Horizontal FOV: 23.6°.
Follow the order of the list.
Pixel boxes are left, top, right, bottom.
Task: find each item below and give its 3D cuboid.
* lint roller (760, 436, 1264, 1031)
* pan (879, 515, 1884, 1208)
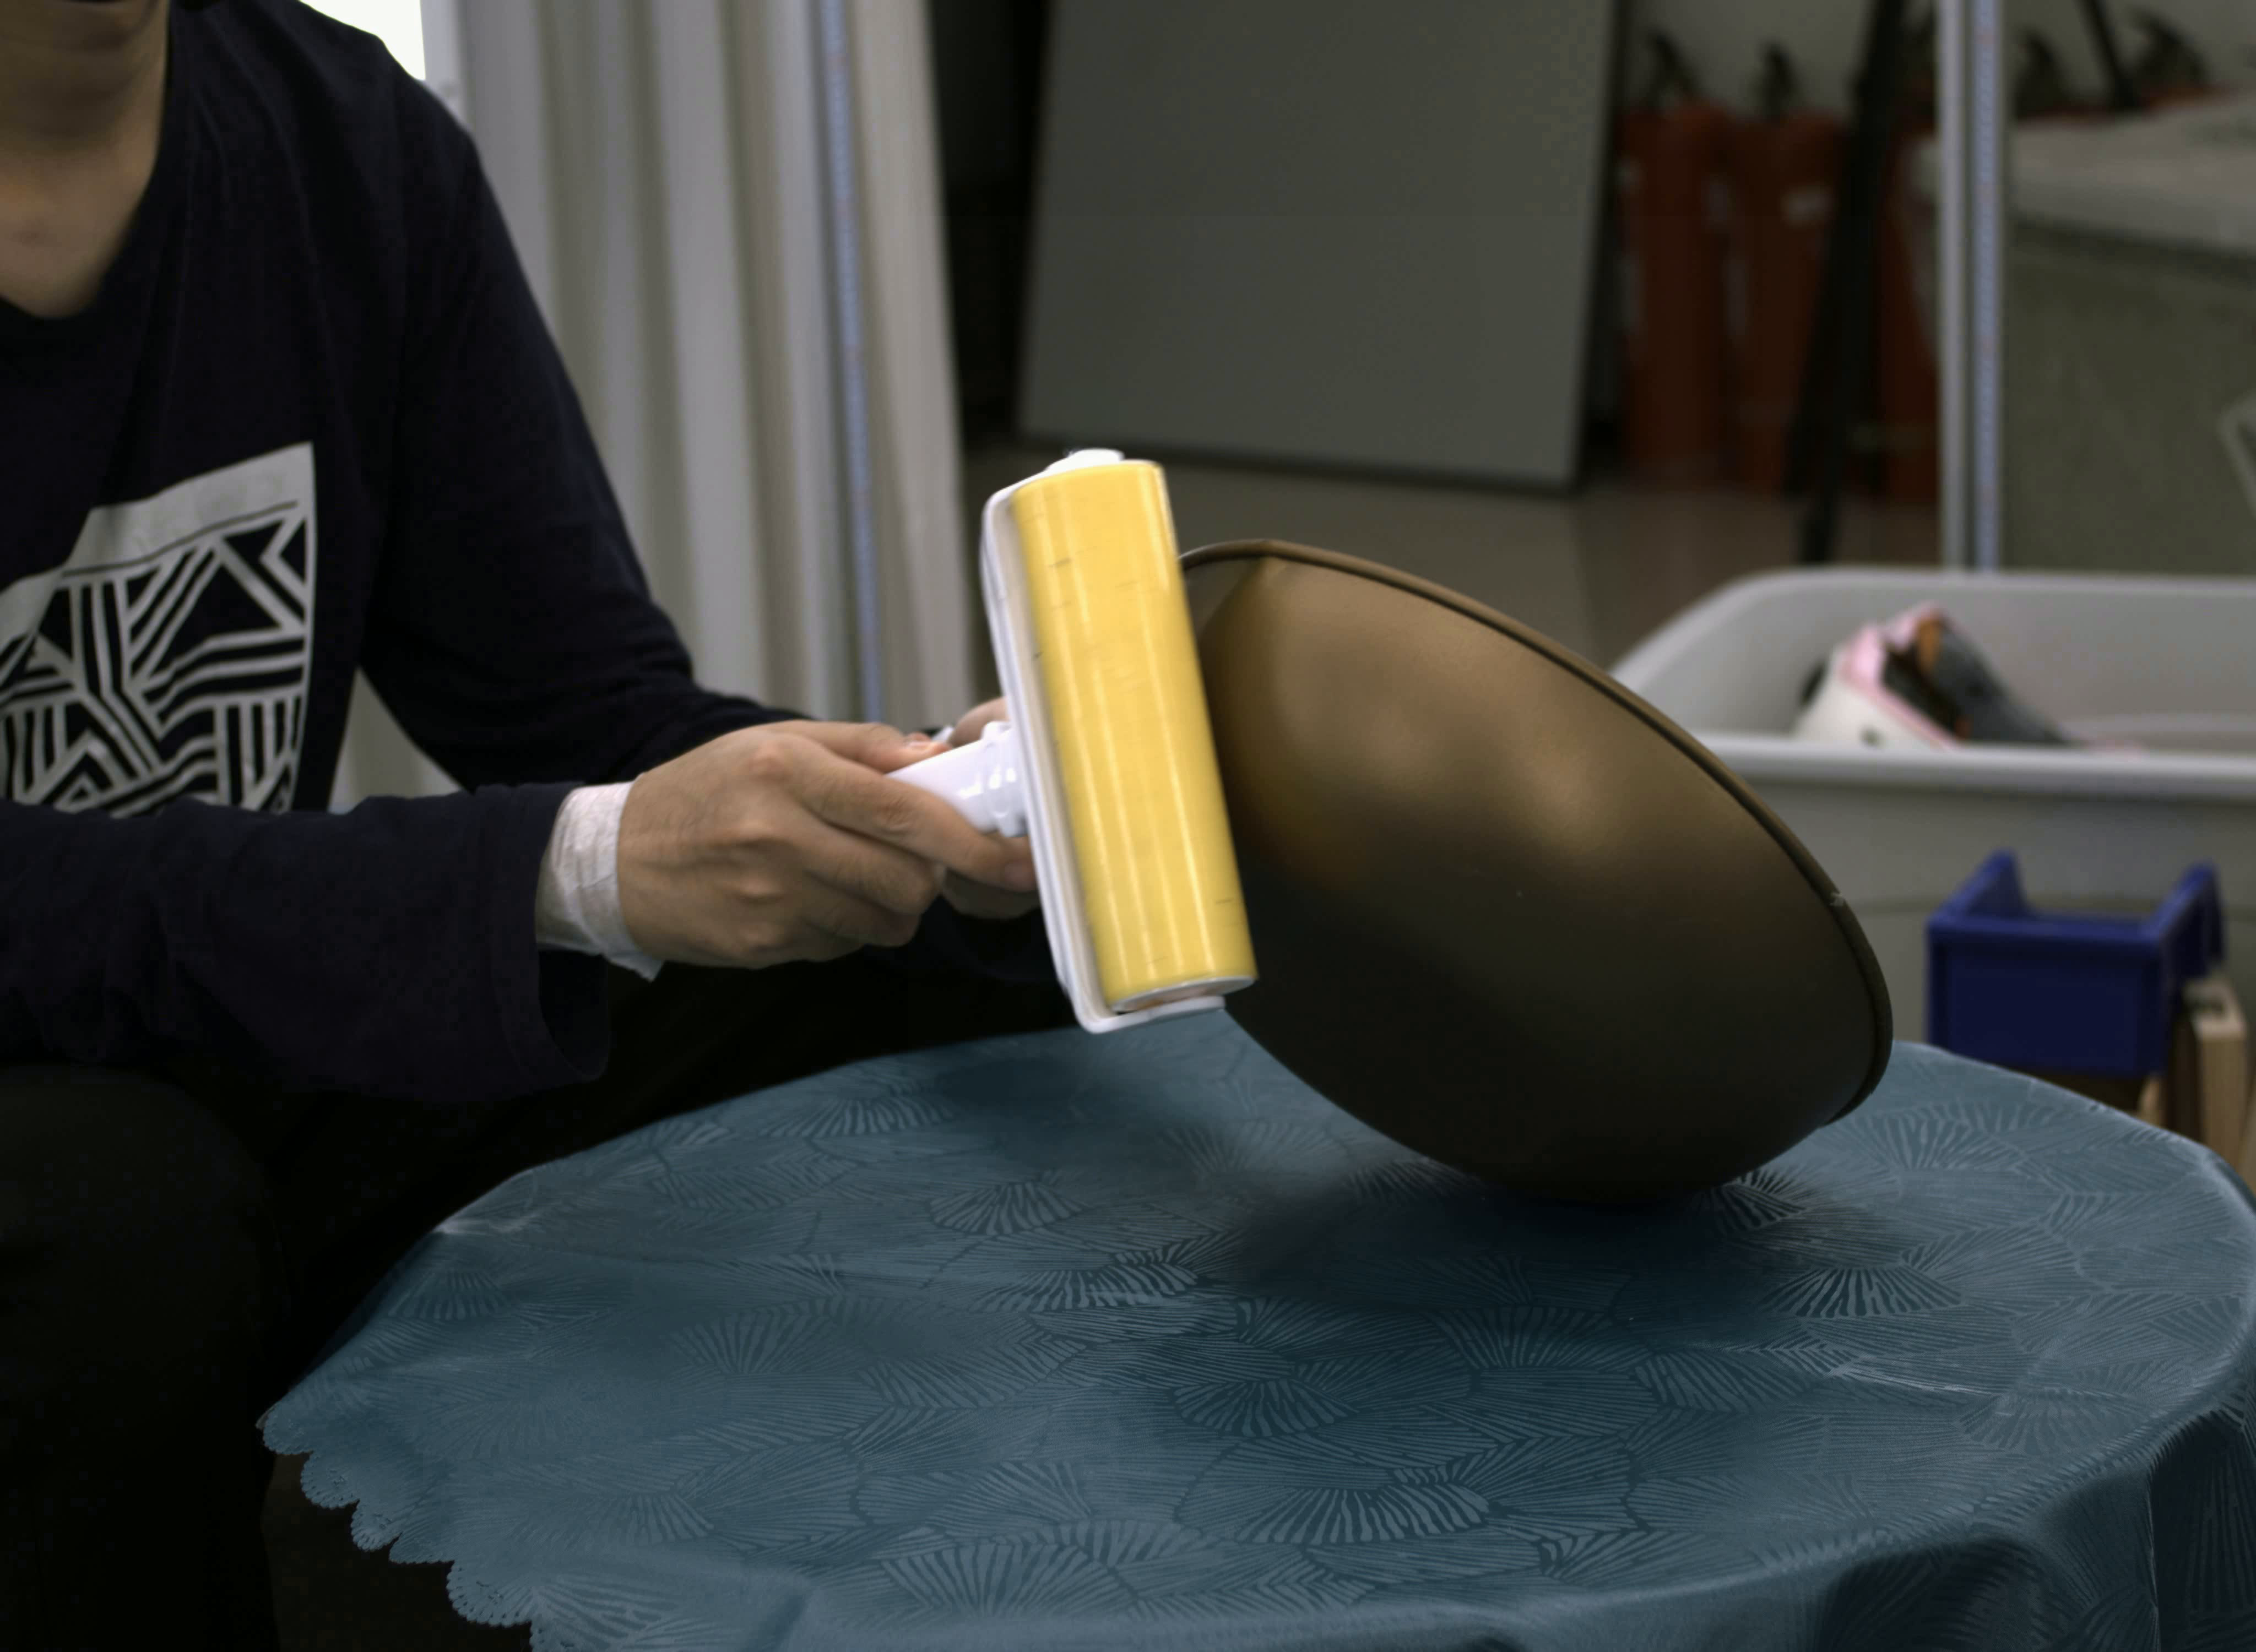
[{"bbox_3d":[-0.051,-0.011,1.656,0.193,0.176,0.050,-18,-14,34],"label":"lint roller"},{"bbox_3d":[0.038,0.025,1.752,0.468,0.286,0.086,6,52,51],"label":"pan"}]
